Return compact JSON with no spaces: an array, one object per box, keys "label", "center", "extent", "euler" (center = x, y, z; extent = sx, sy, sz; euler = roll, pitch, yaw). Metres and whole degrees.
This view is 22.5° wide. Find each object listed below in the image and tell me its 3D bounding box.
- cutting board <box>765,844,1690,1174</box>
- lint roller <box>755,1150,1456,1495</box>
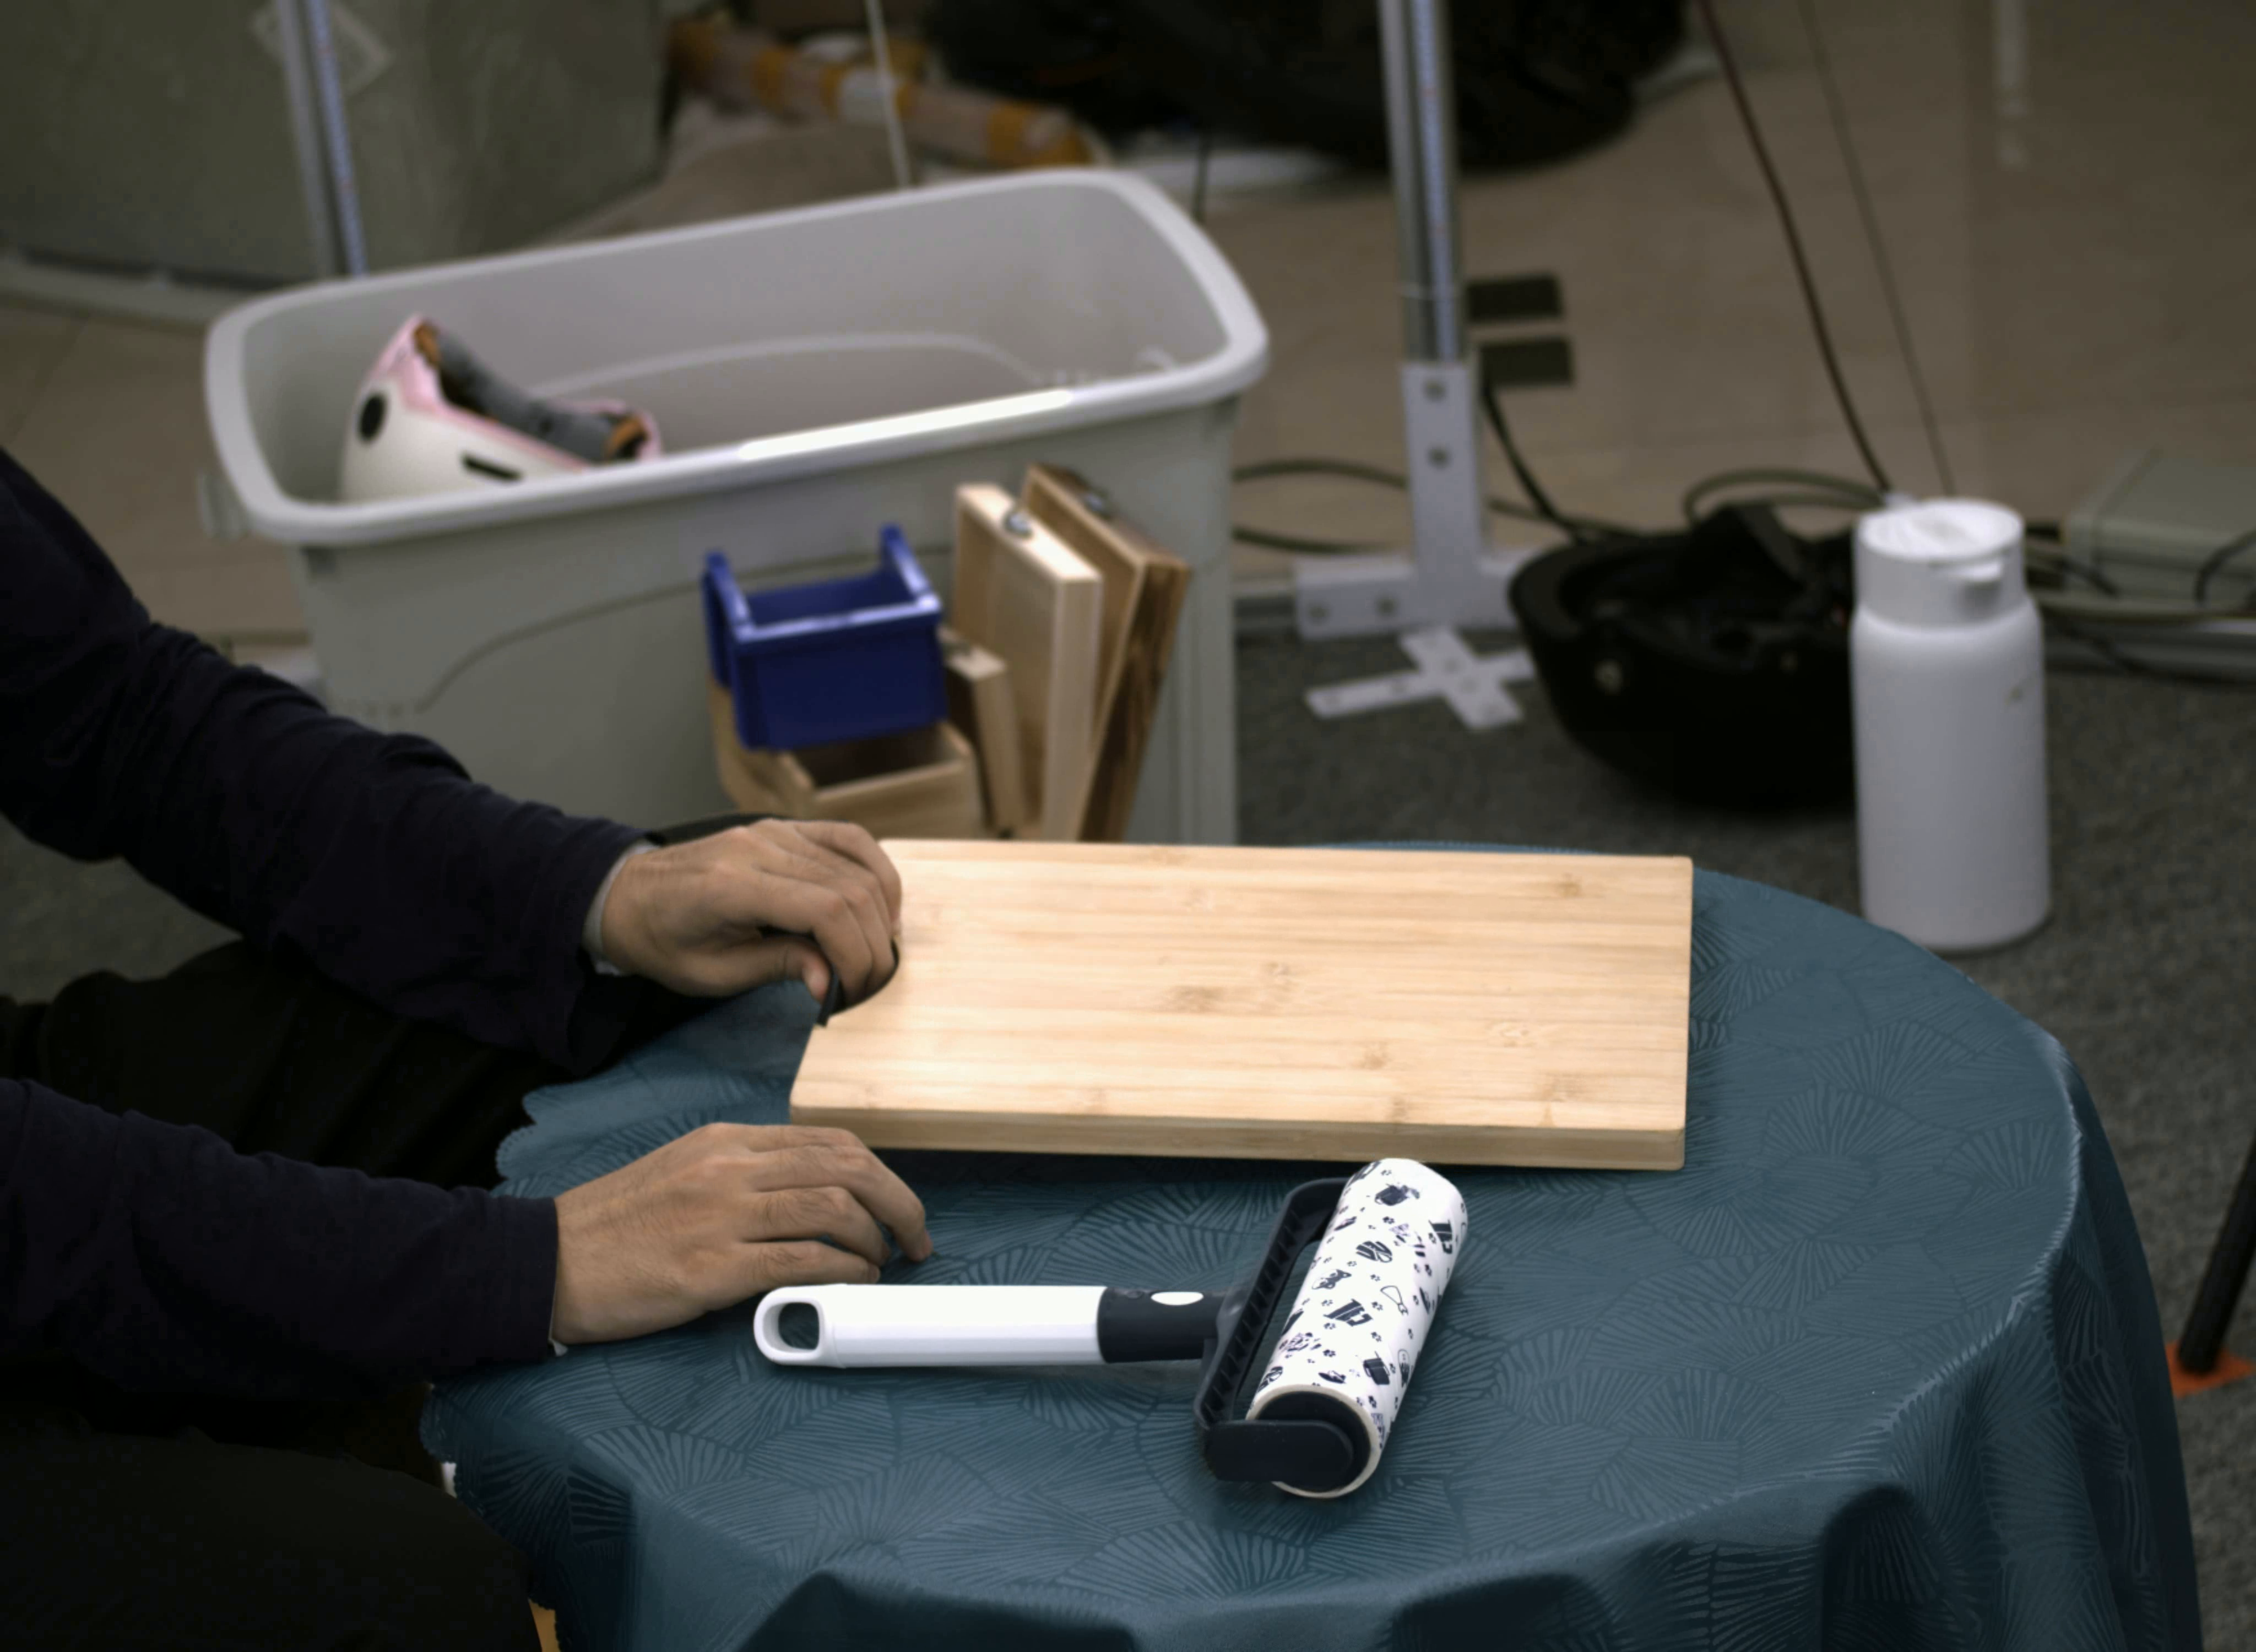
[{"label":"cutting board","center":[0.046,0.069,2.242],"extent":[0.348,0.024,0.247],"euler":[1,25,6]},{"label":"lint roller","center":[-0.017,0.177,2.023],"extent":[0.246,0.051,0.174],"euler":[-2,26,16]}]
